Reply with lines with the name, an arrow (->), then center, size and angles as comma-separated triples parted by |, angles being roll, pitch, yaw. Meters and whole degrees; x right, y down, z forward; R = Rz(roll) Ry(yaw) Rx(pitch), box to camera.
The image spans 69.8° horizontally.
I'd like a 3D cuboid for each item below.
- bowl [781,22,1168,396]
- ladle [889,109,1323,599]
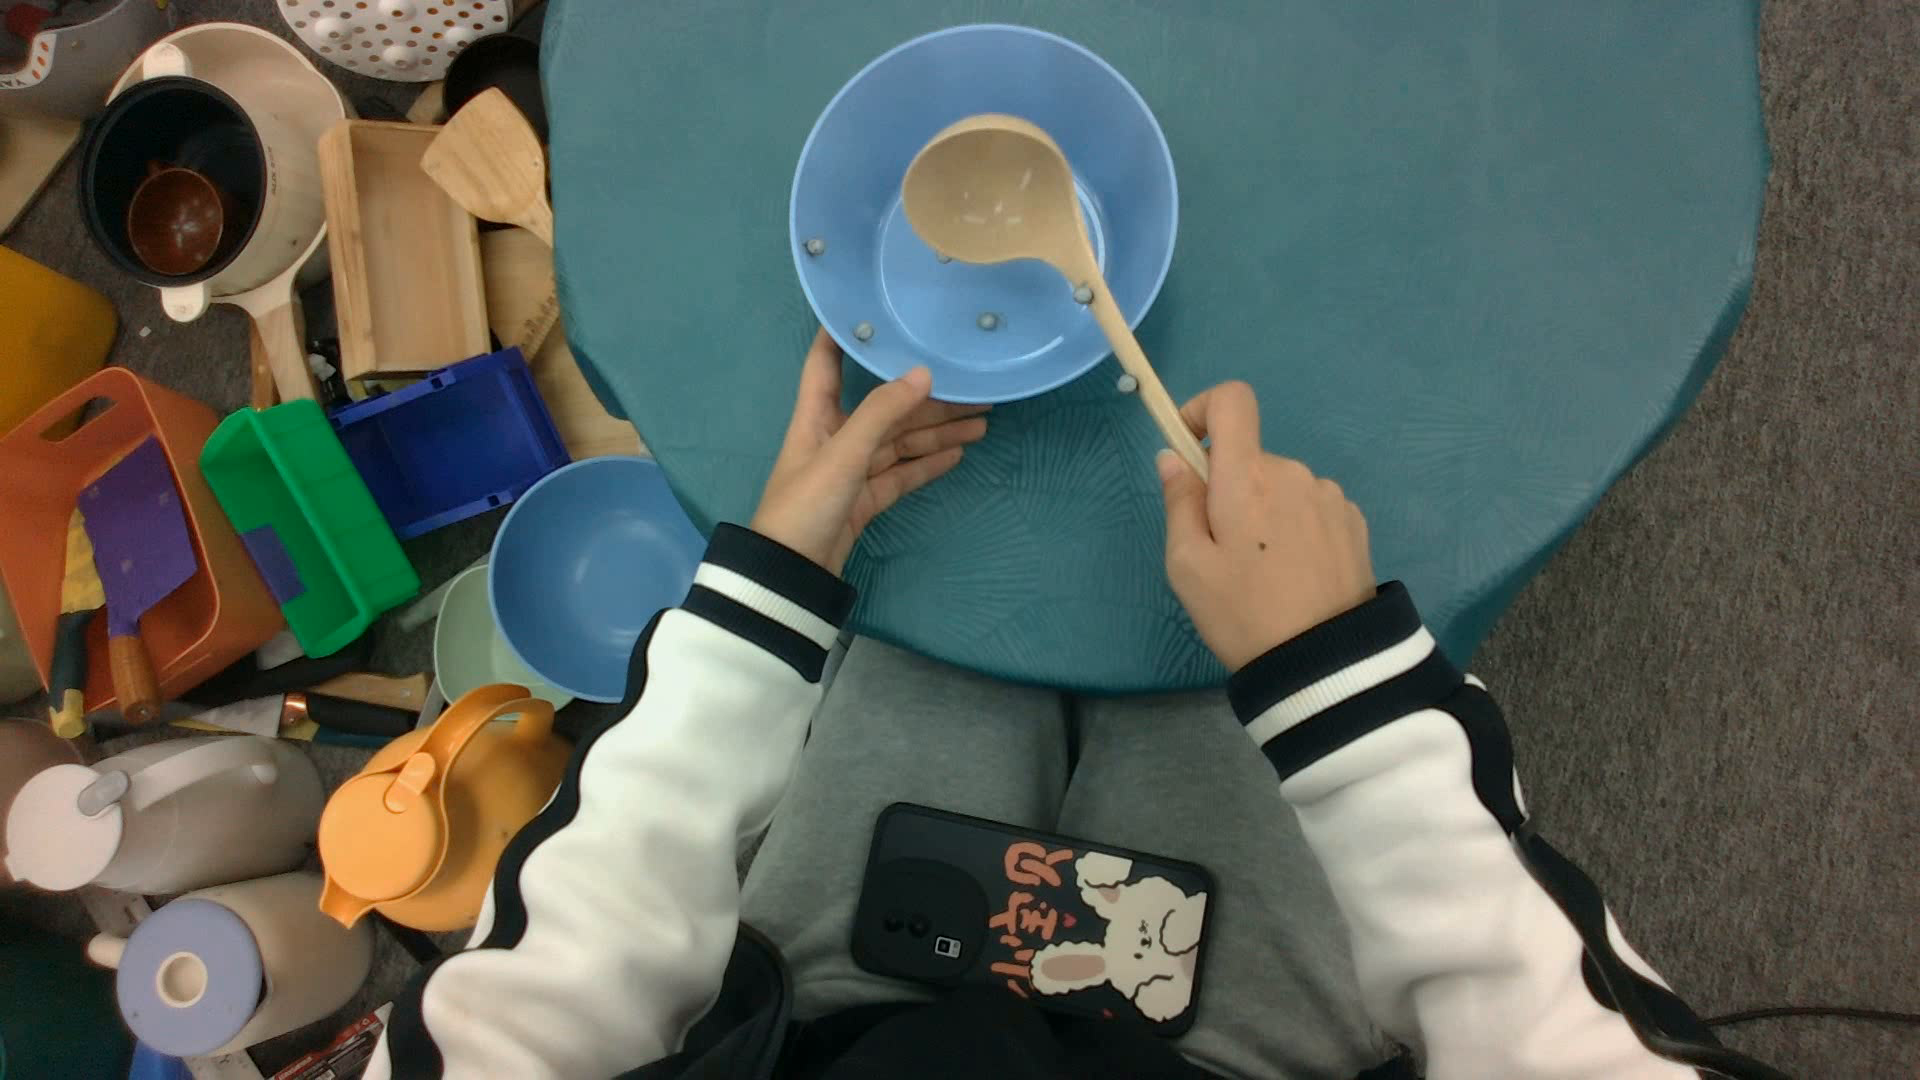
bowl -> 0.009, -0.147, 0.652 | 0.176, 0.070, 0.176 | -1, 82, 6
ladle -> 0.054, -0.075, 0.565 | 0.072, 0.073, 0.255 | -49, 62, 37
